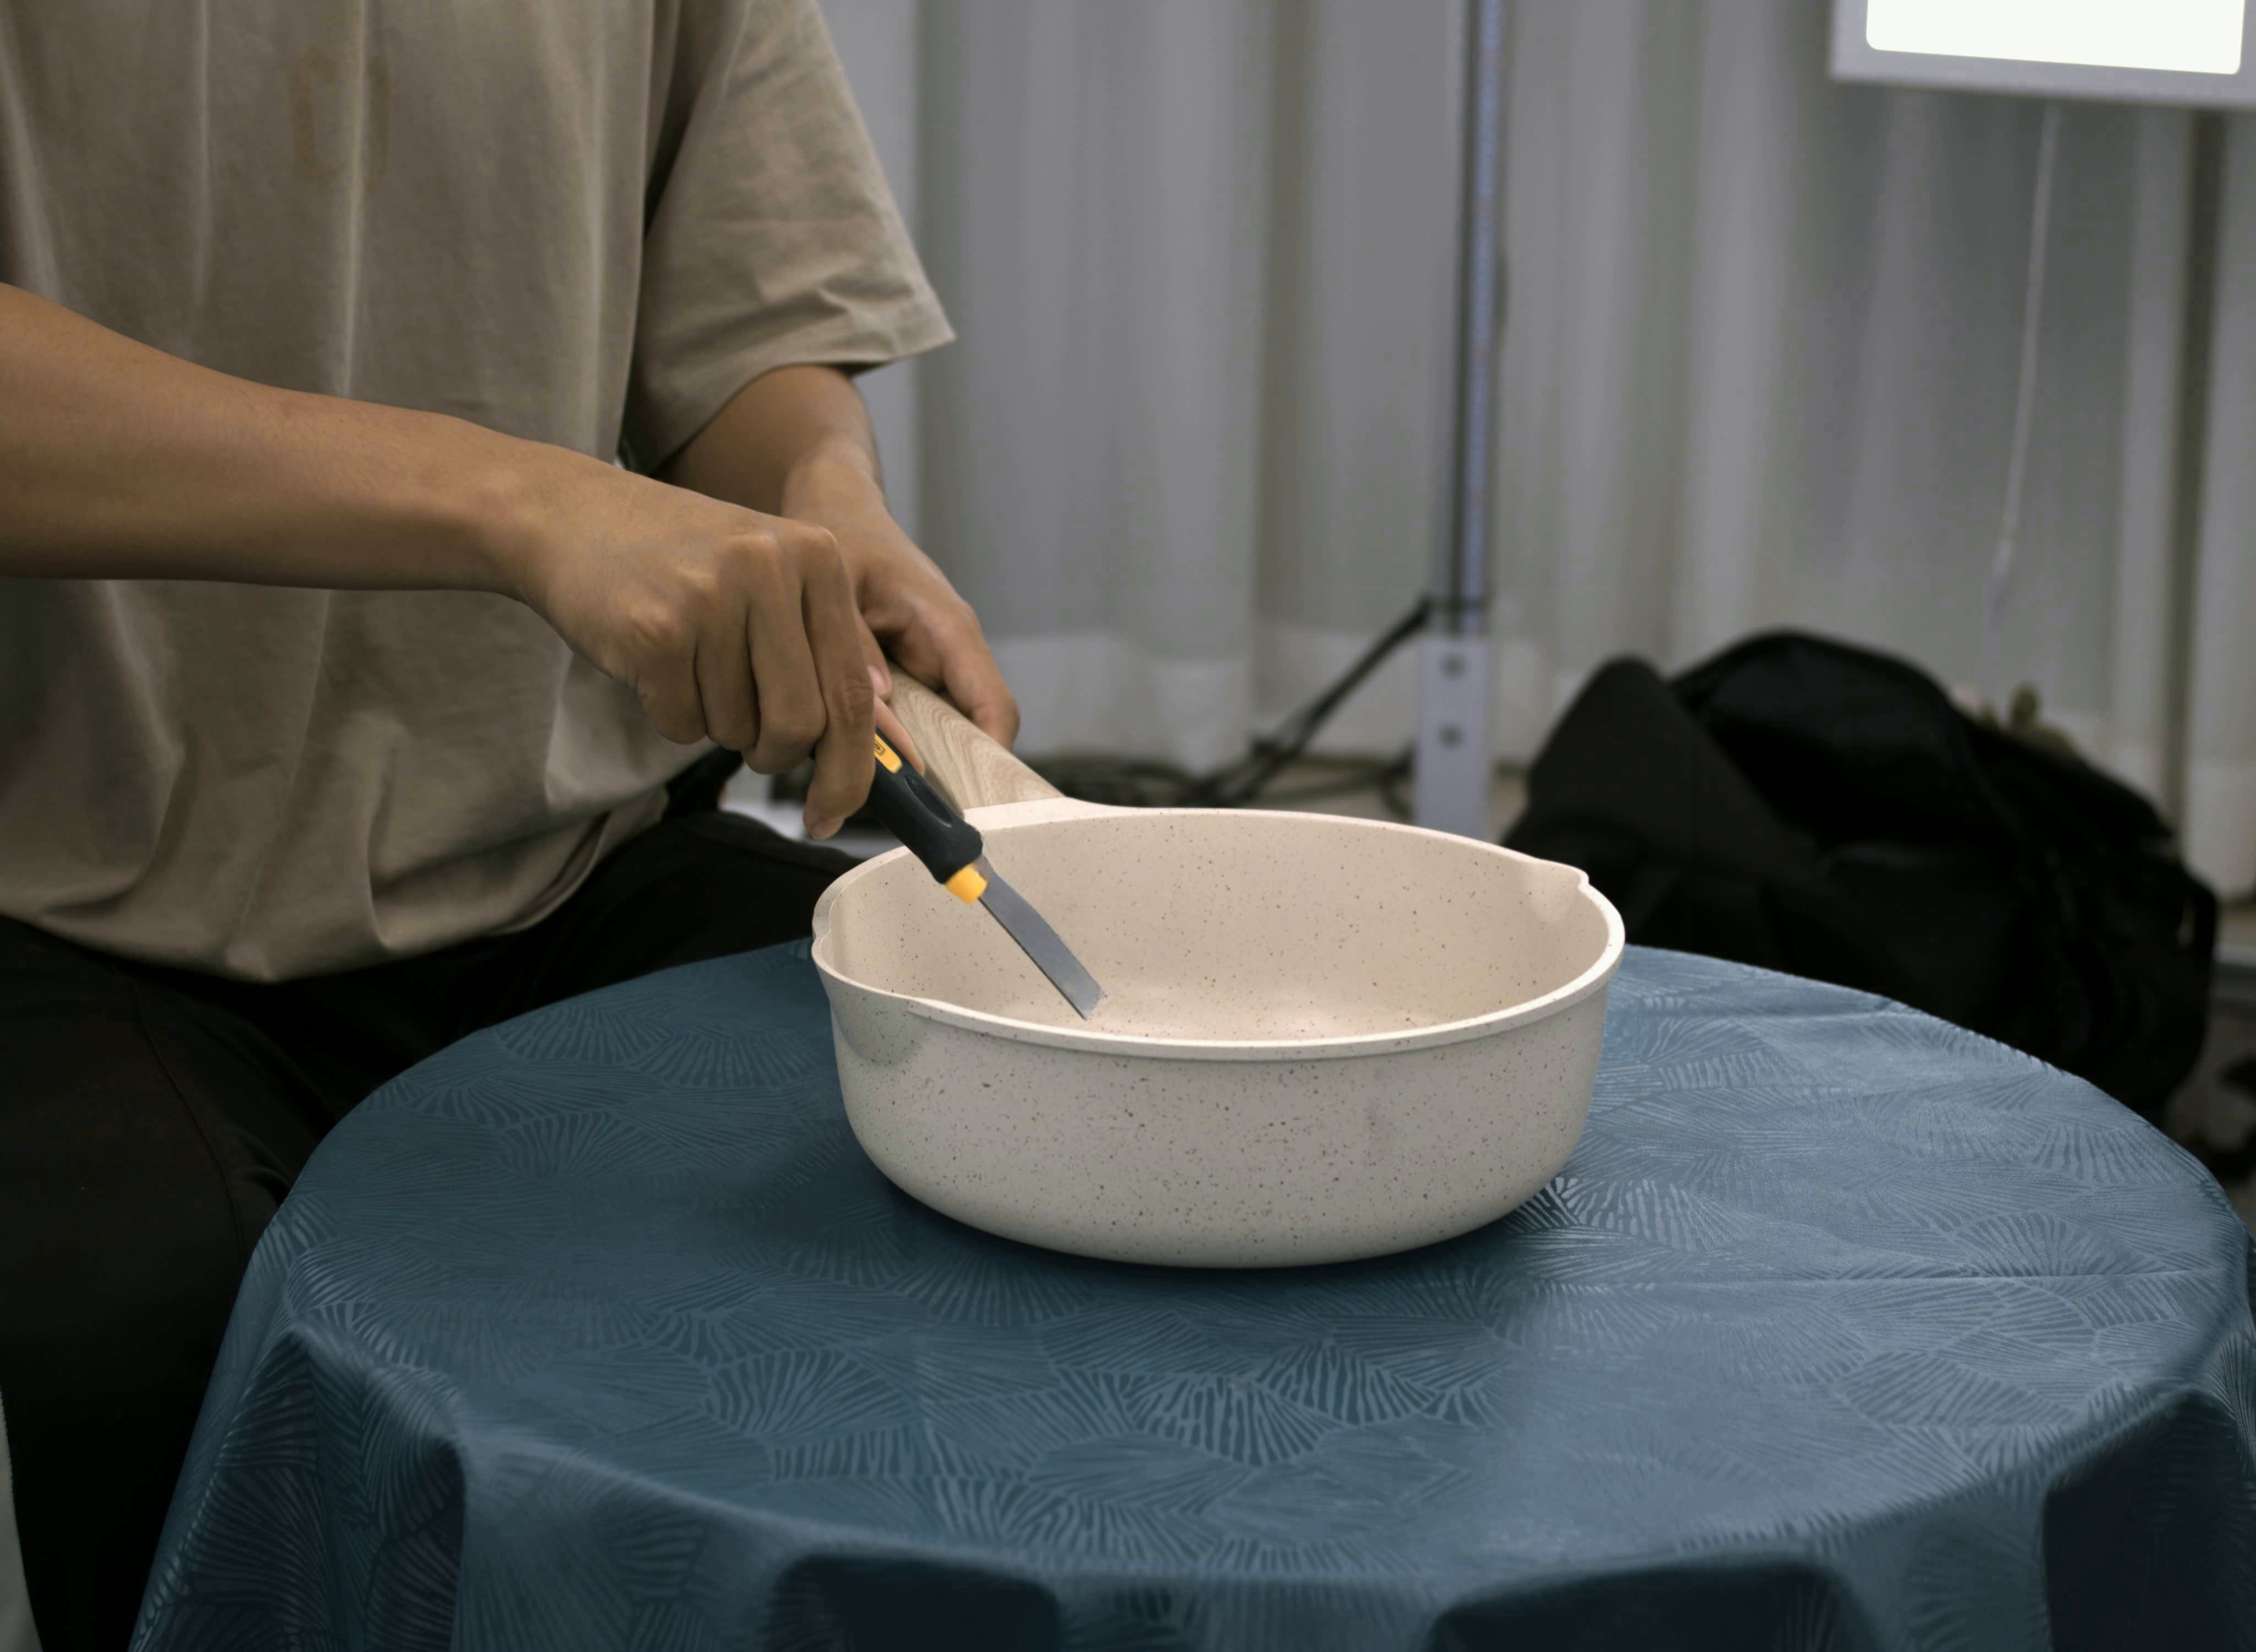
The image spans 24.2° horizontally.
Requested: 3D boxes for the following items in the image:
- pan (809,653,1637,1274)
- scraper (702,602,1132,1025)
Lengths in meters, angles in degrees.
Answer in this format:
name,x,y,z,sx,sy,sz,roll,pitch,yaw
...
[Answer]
name,x,y,z,sx,sy,sz,roll,pitch,yaw
pan,-0.009,0.039,1.714,0.264,0.103,0.429,-10,19,-26
scraper,-0.065,-0.005,1.601,0.171,0.015,0.039,44,32,-7
